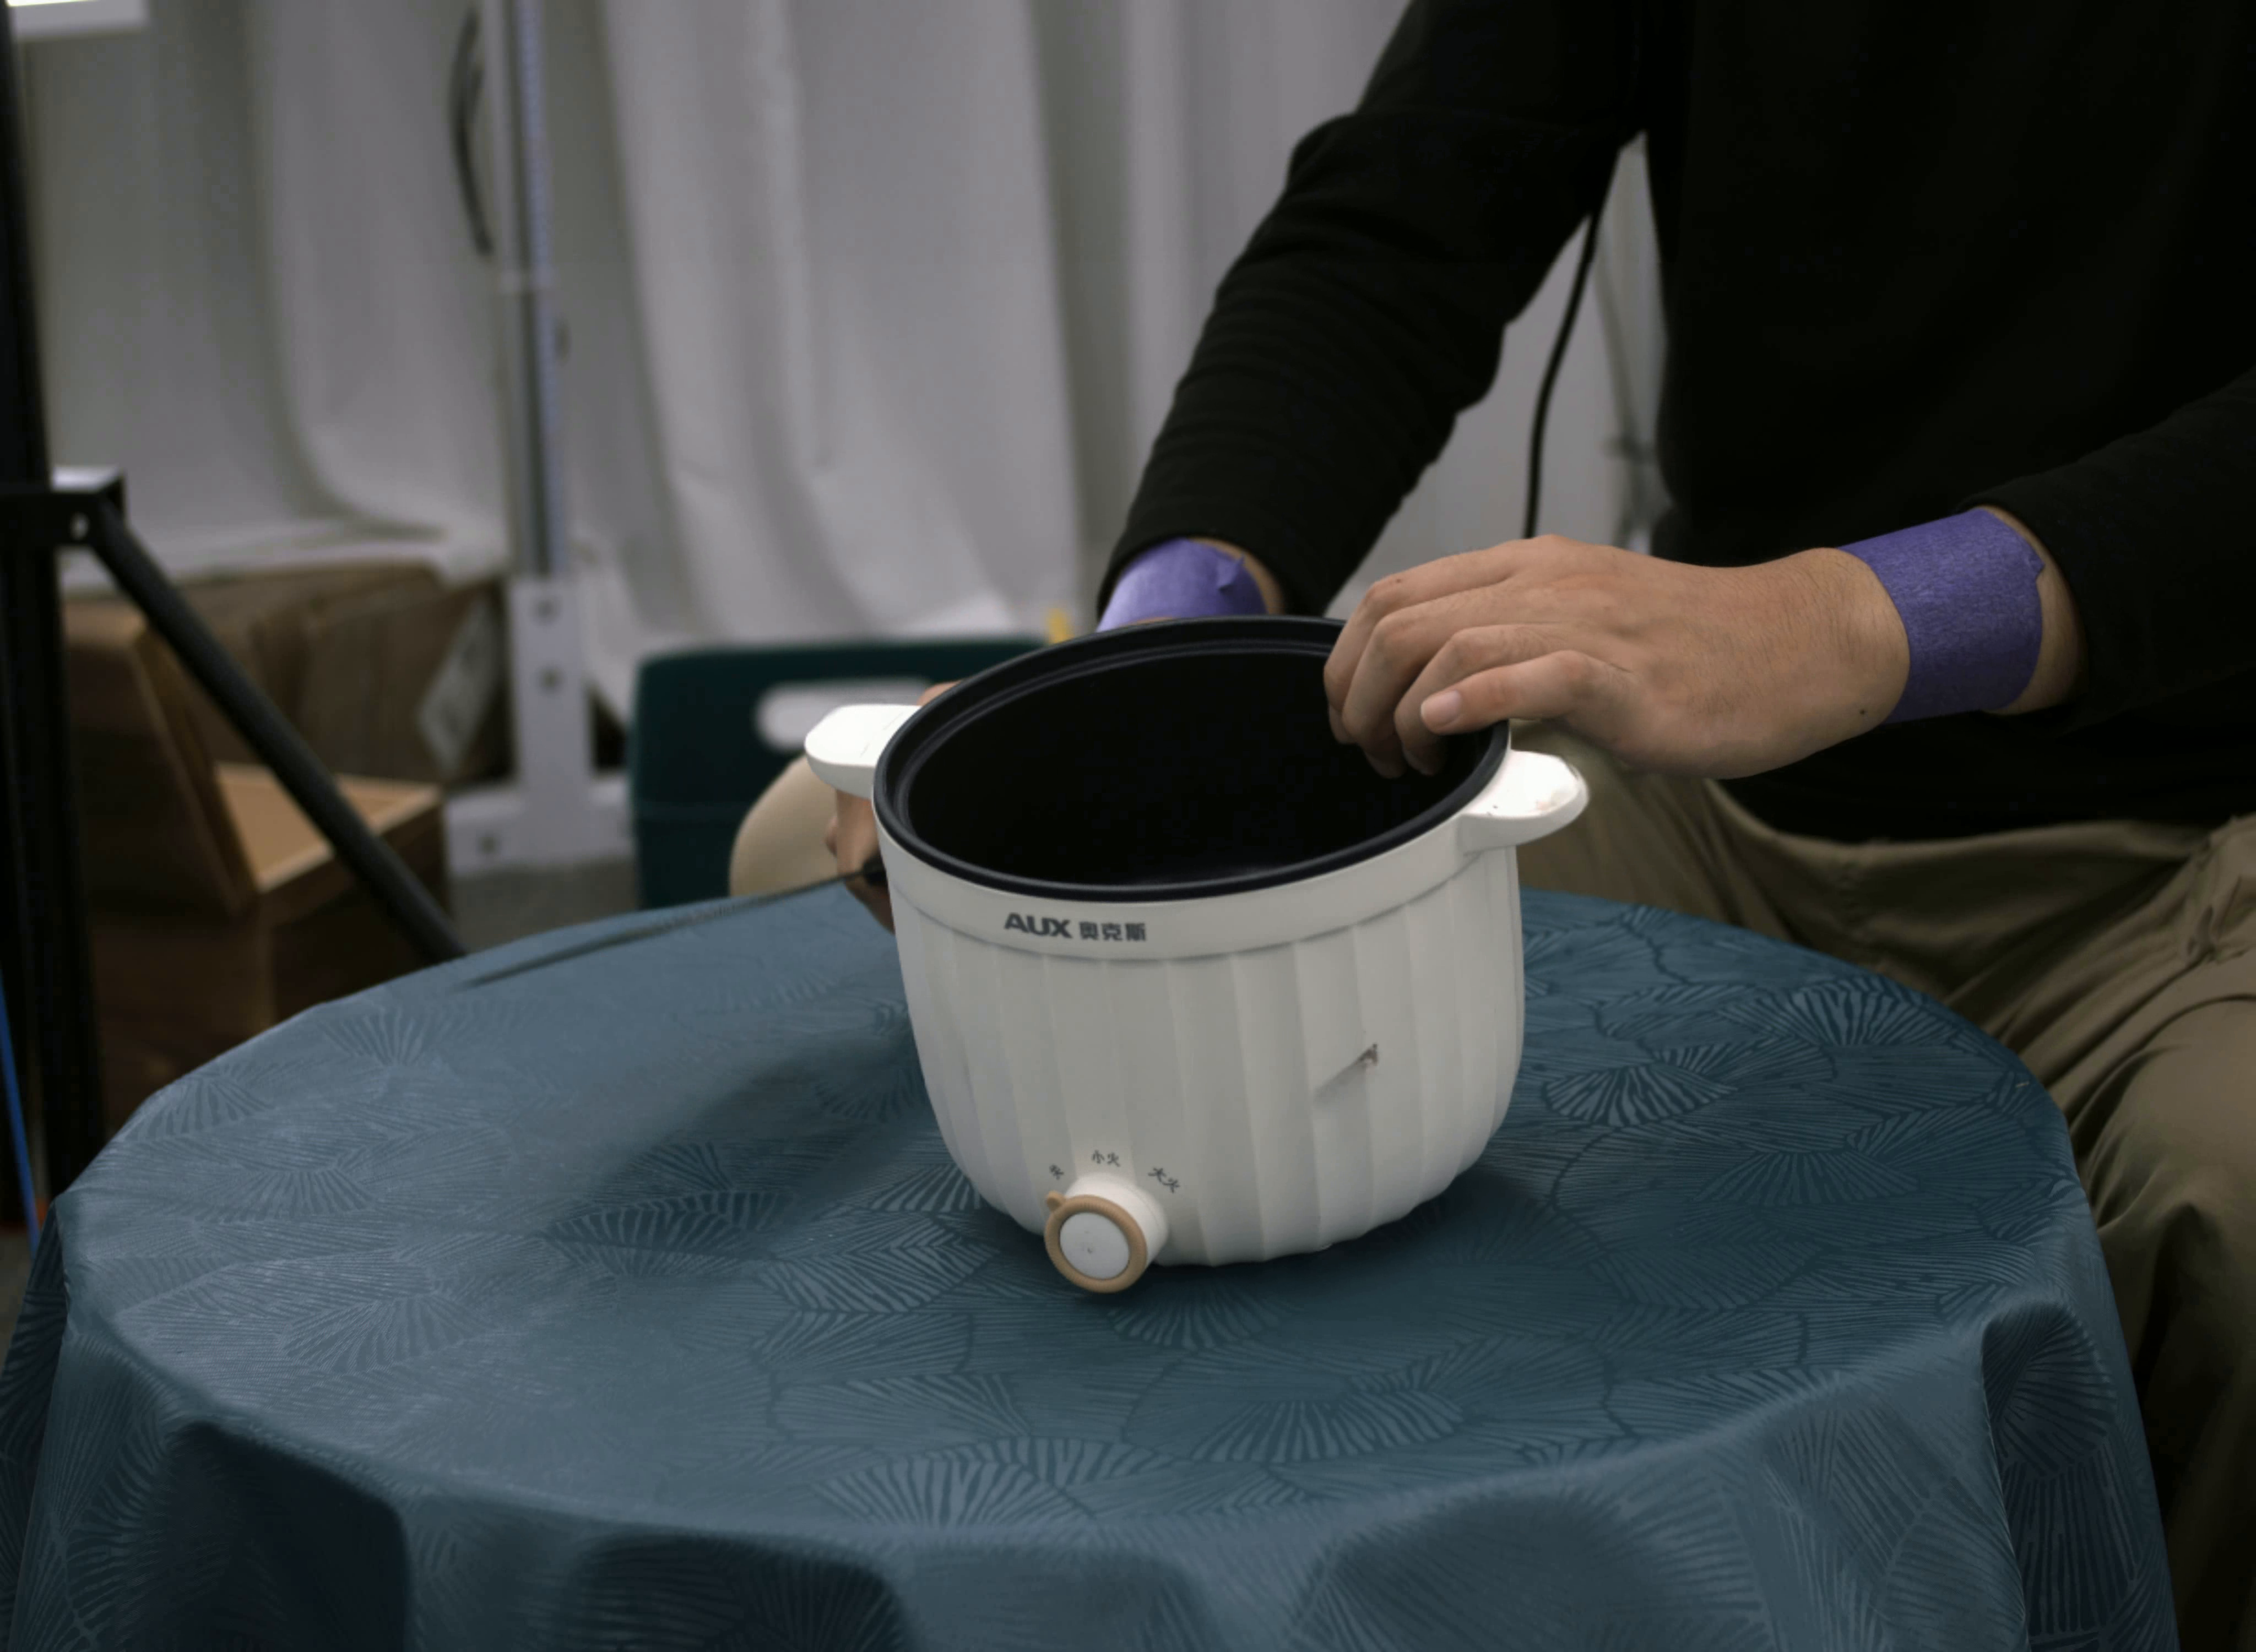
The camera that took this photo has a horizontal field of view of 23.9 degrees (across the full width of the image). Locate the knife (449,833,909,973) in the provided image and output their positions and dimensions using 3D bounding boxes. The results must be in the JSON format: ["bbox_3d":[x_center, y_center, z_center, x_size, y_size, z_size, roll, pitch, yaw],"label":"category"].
[{"bbox_3d":[-0.102,0.018,1.657,0.082,0.021,0.296,-18,-2,34],"label":"knife"}]

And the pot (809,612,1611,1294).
[{"bbox_3d":[0.025,0.039,1.516,0.244,0.142,0.188,4,24,24],"label":"pot"}]
